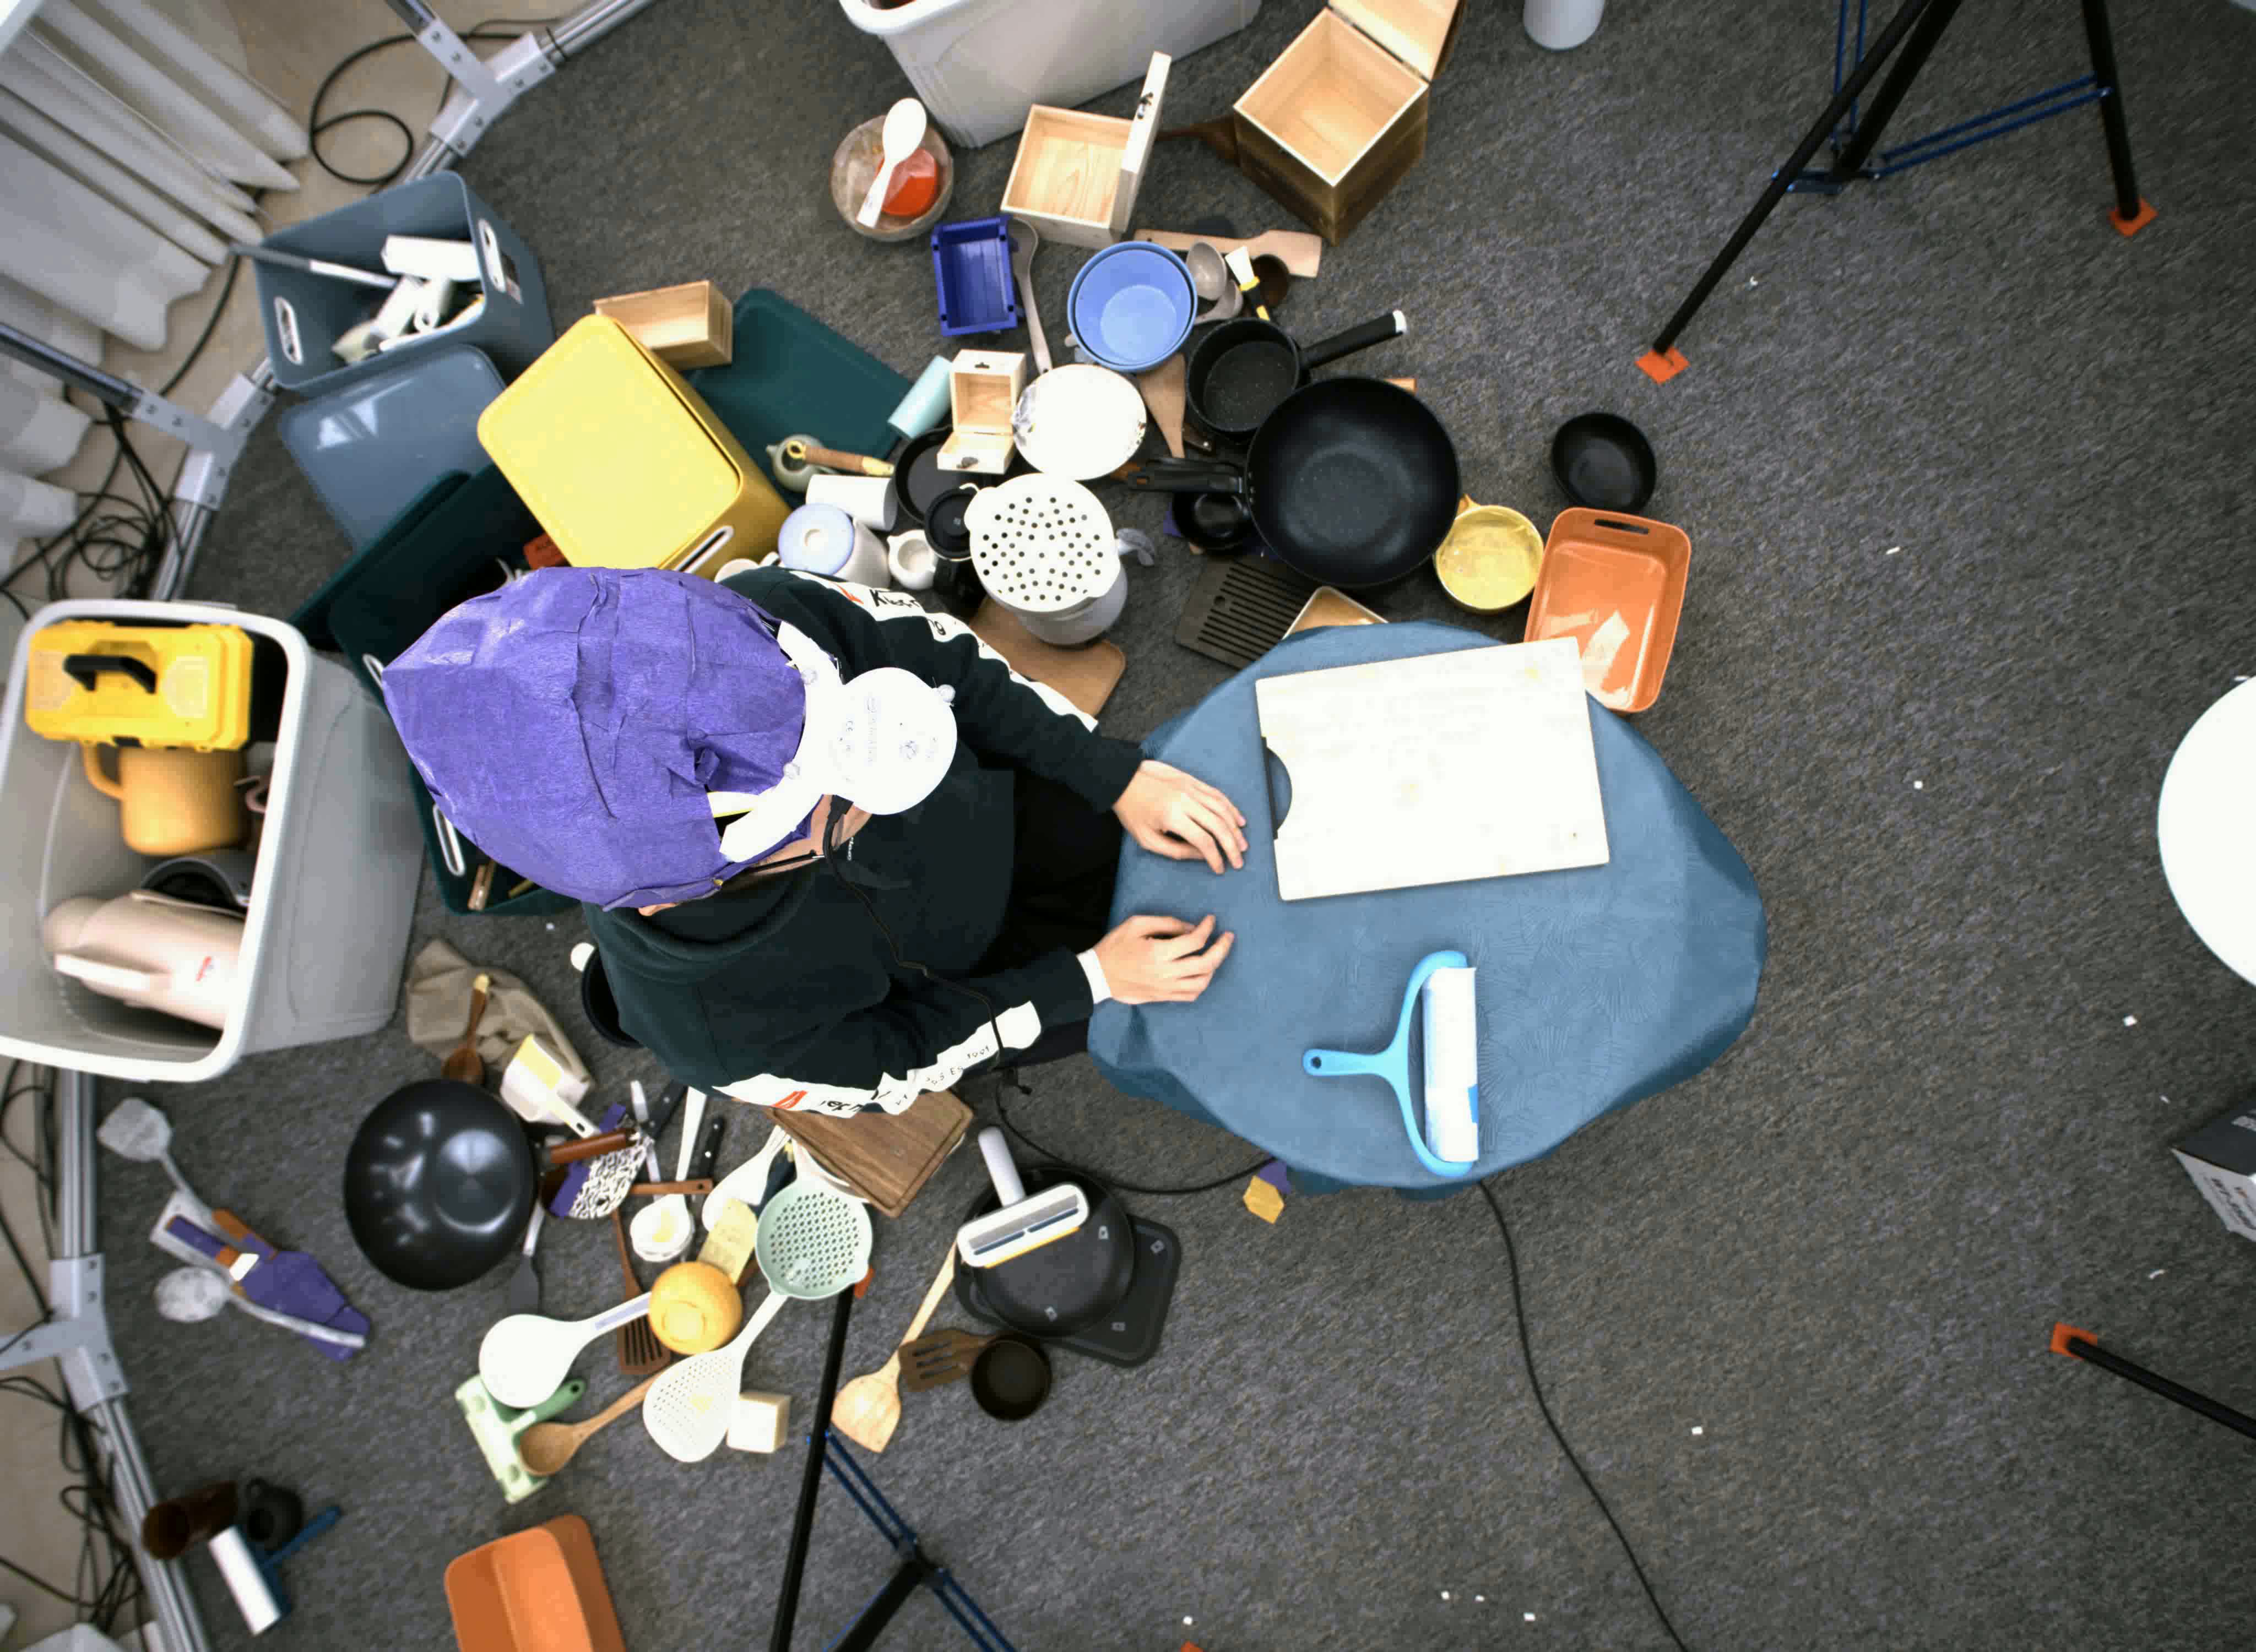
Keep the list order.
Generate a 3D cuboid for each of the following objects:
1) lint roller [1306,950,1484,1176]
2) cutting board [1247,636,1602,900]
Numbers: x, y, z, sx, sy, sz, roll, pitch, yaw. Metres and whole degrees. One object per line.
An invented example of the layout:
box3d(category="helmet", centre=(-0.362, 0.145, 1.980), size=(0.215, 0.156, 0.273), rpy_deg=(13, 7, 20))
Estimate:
box3d(category="lint roller", centre=(0.273, 0.243, 1.417), size=(0.181, 0.068, 0.228), rpy_deg=(-4, 88, 10))
box3d(category="cutting board", centre=(0.311, -0.061, 1.447), size=(0.350, 0.023, 0.249), rpy_deg=(-8, 86, 10))
